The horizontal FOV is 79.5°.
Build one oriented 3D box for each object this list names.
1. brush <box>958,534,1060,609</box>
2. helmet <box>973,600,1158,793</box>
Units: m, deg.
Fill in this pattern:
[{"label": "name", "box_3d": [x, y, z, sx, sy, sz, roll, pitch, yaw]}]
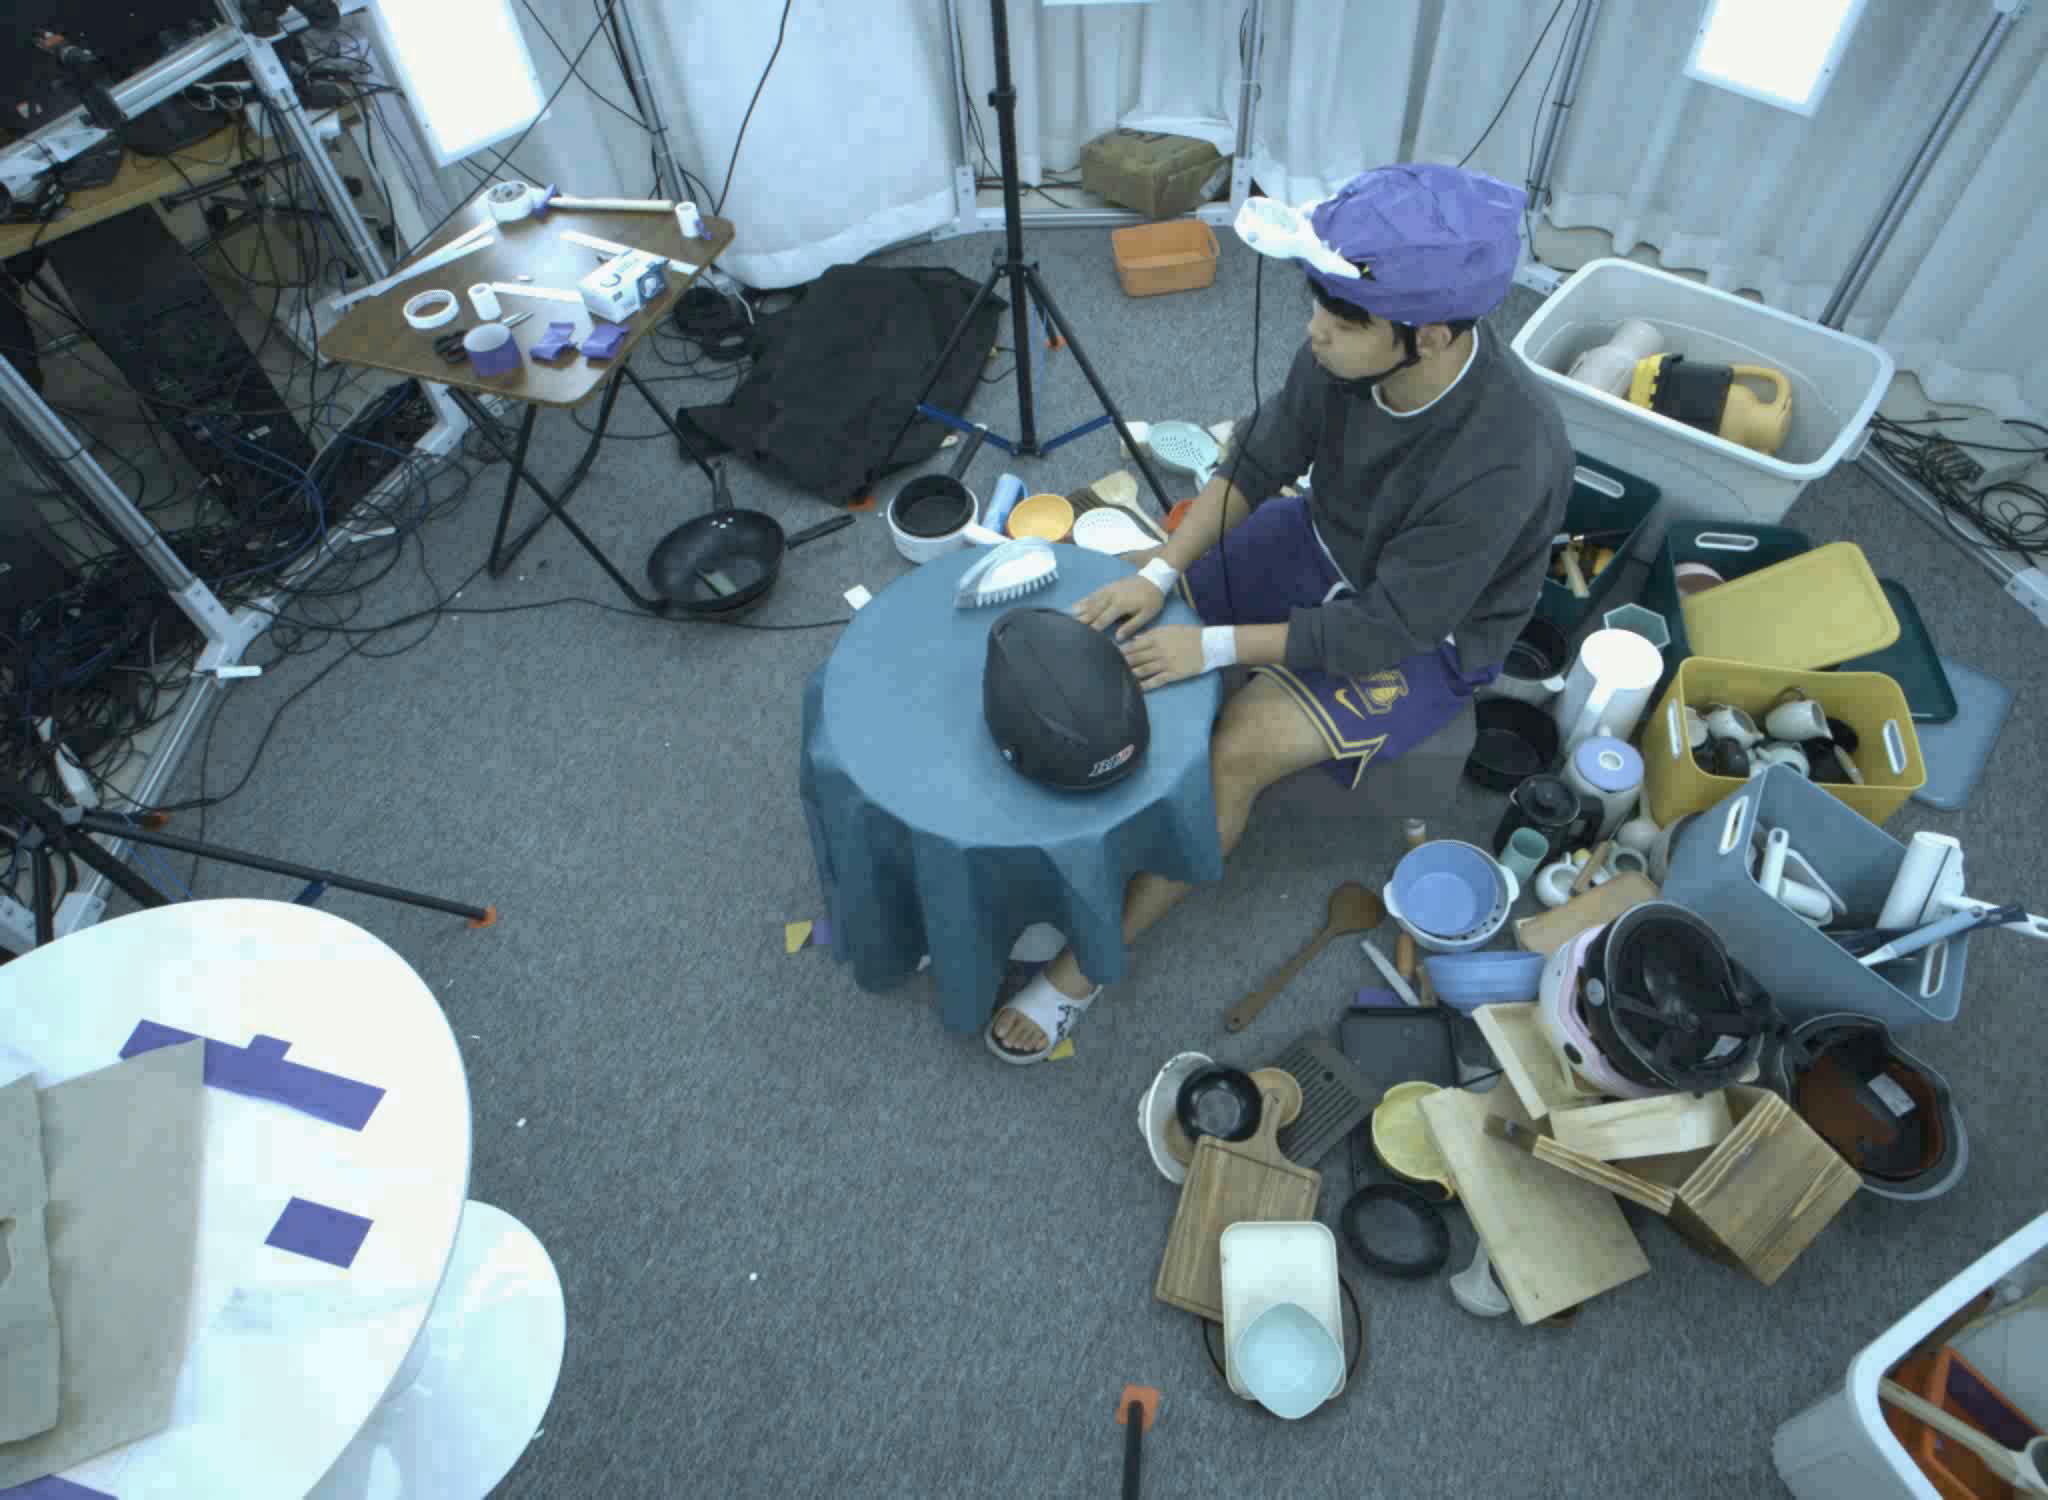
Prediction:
[{"label": "brush", "box_3d": [-0.031, -0.286, 1.938, 0.177, 0.095, 0.060, -24, 55, -12]}, {"label": "helmet", "box_3d": [0.052, -0.085, 1.751, 0.248, 0.174, 0.271, -27, 54, -15]}]
